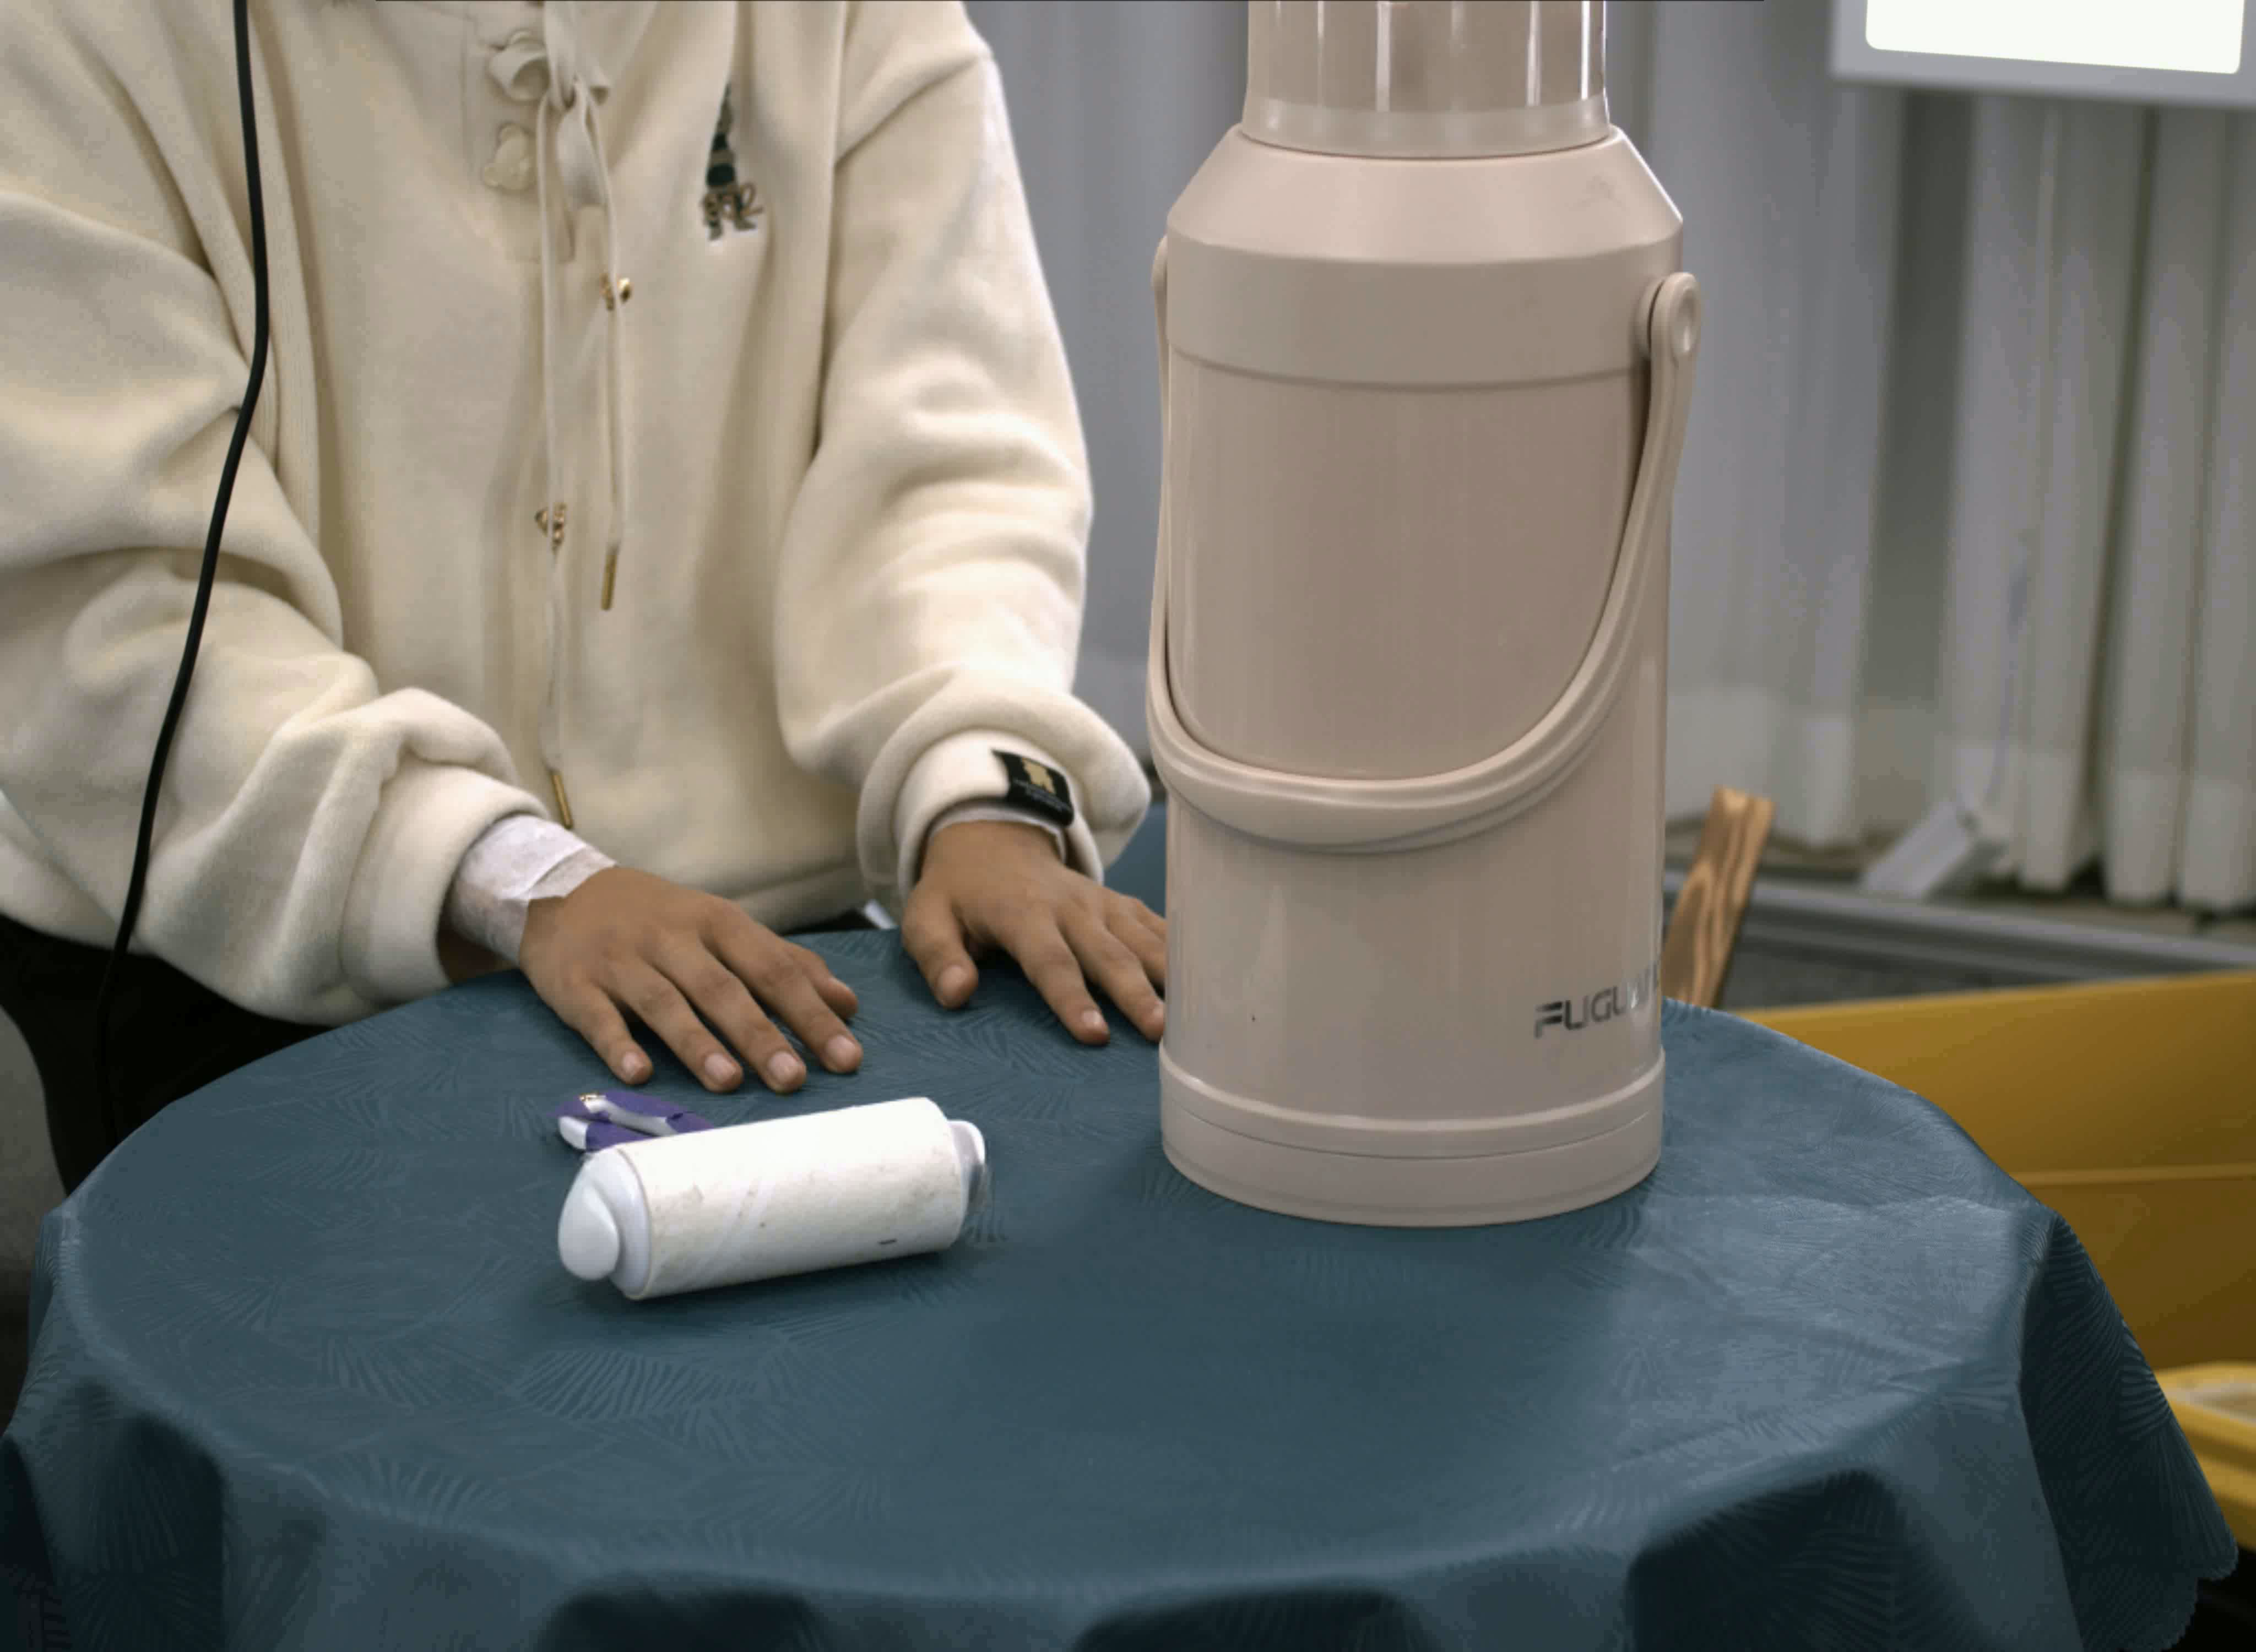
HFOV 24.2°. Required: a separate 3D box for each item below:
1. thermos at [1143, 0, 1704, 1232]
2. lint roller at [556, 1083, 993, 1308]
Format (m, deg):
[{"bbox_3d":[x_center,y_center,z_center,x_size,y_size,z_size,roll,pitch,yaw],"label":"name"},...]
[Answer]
[{"bbox_3d":[0.097,-0.093,1.619,0.173,0.409,0.207,9,18,28],"label":"thermos"},{"bbox_3d":[-0.129,0.093,1.598,0.133,0.050,0.178,-8,20,-24],"label":"lint roller"}]
